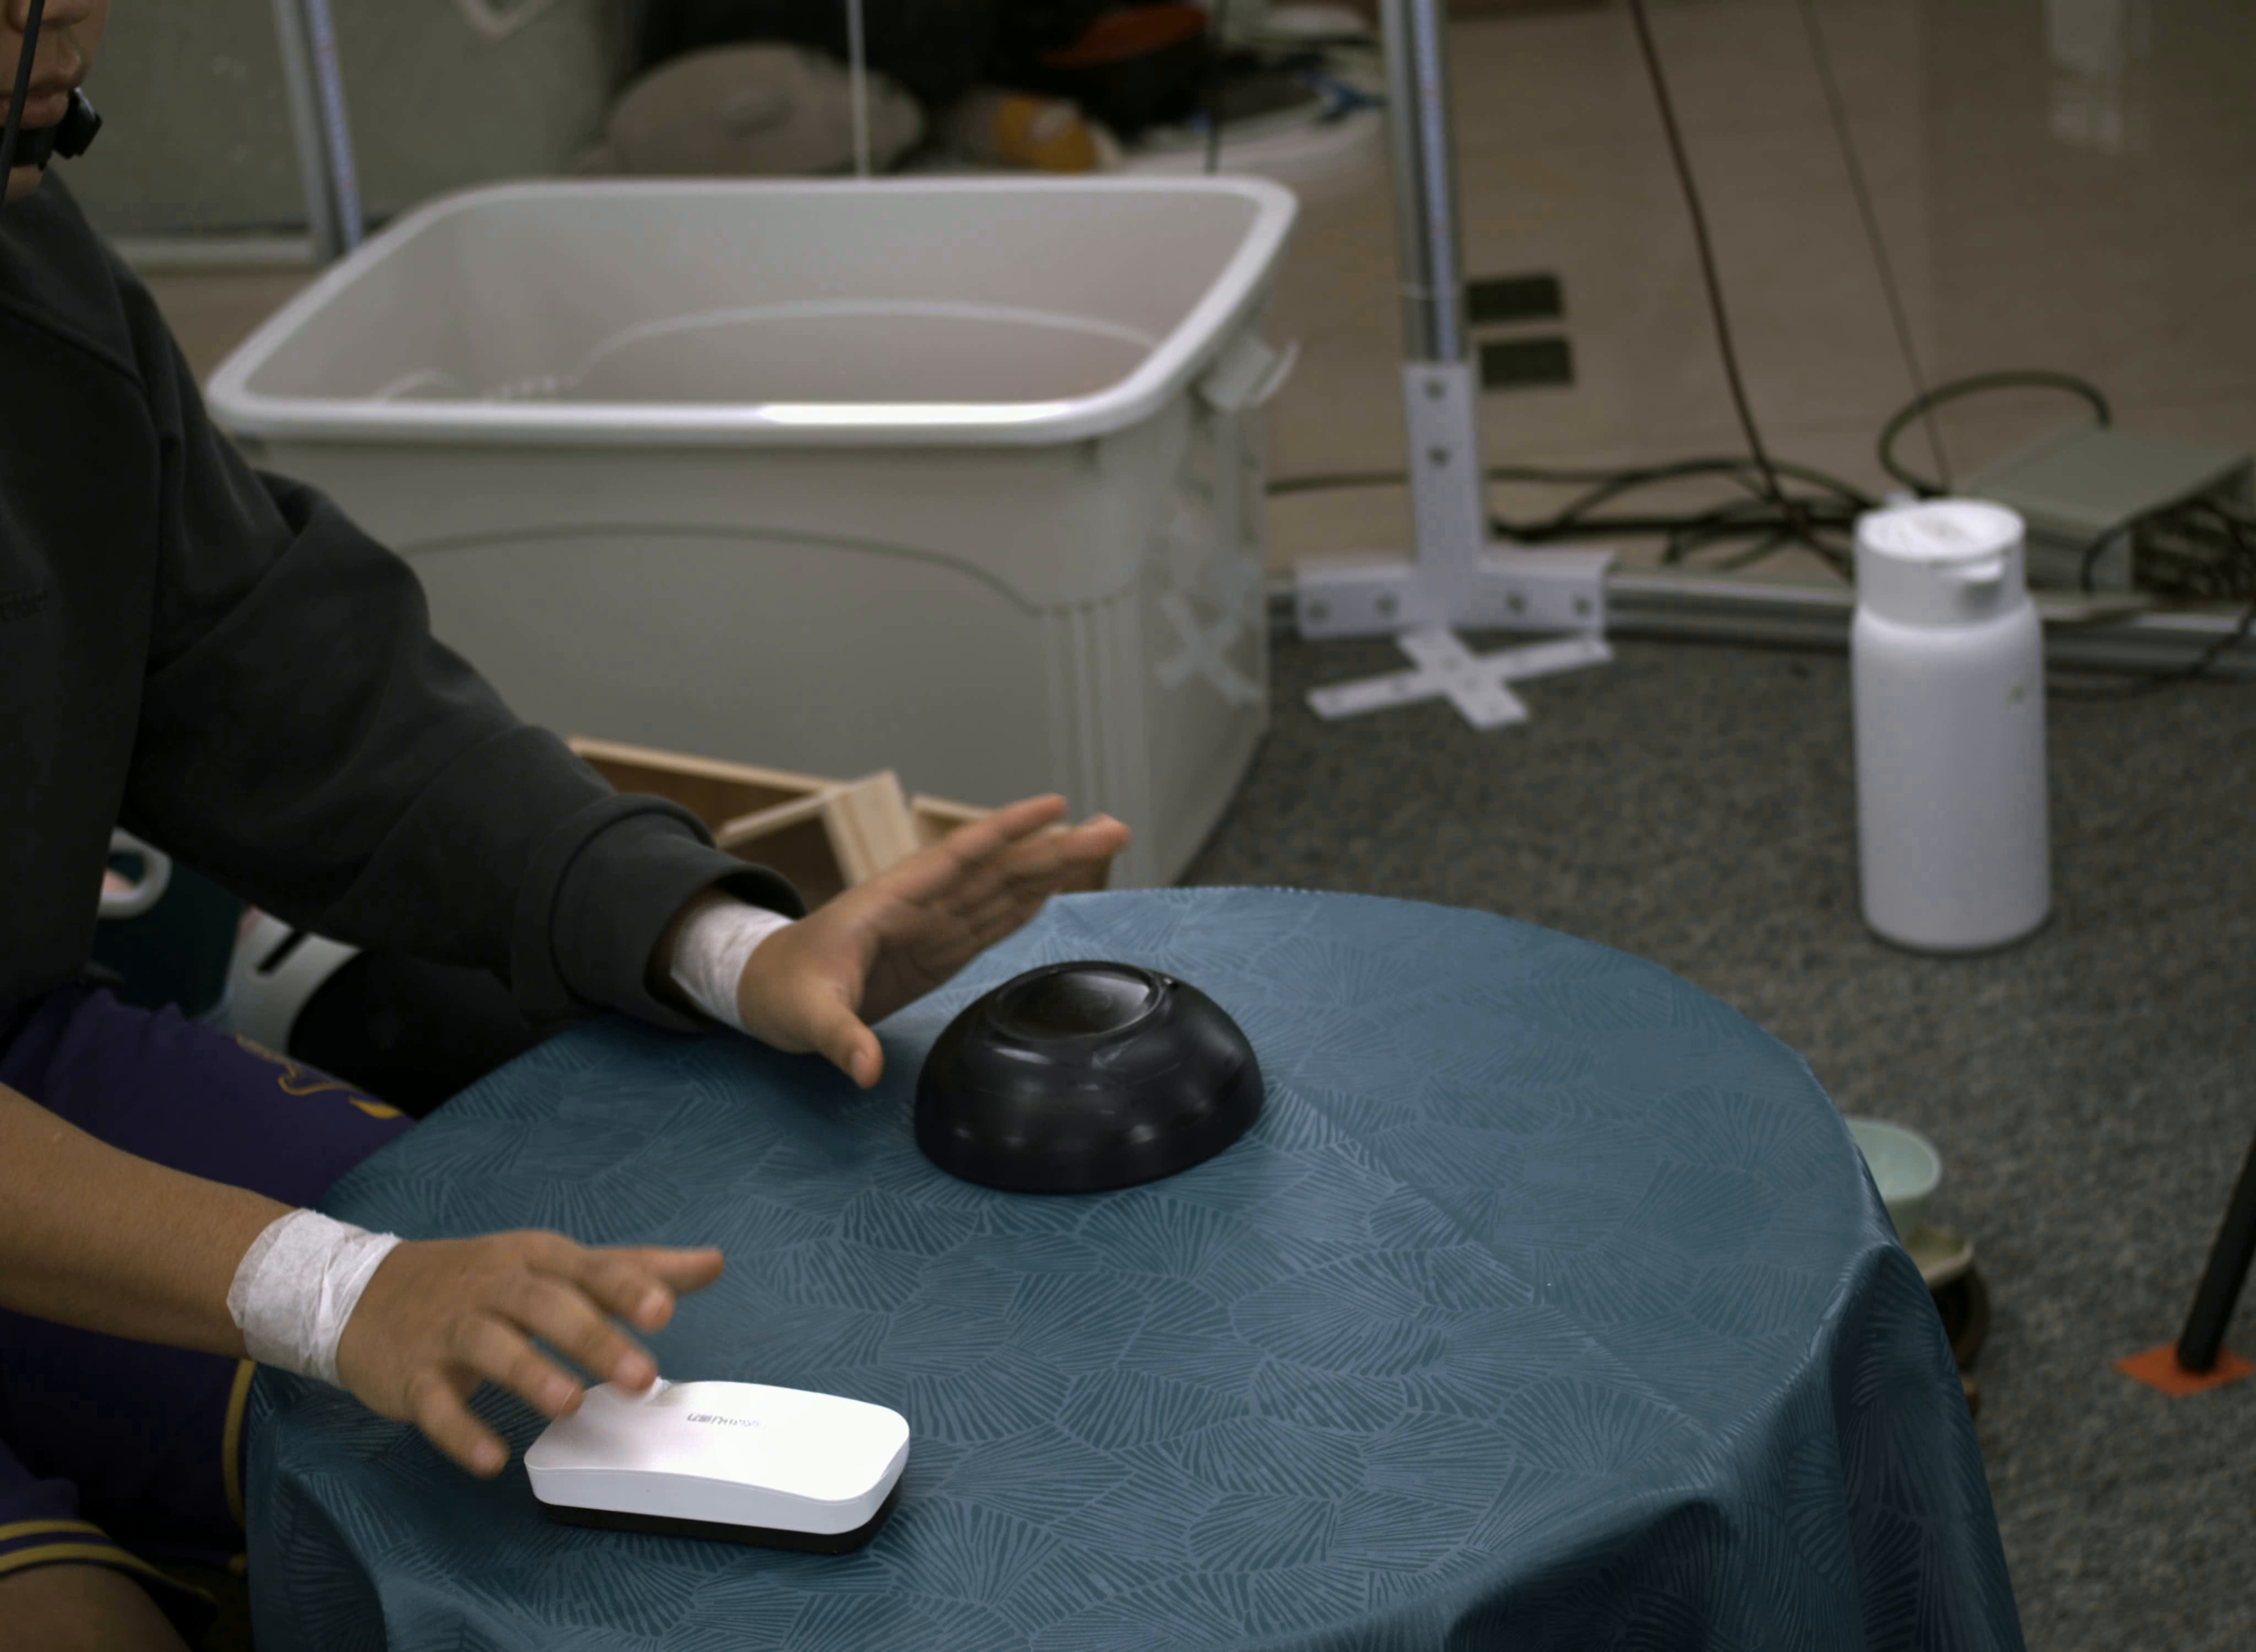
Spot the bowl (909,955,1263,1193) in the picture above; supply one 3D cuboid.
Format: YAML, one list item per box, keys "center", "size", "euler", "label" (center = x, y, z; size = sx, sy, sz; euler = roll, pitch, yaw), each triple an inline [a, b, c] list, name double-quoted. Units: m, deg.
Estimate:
- center: [-0.019, 0.088, 2.199]
  size: [0.140, 0.050, 0.138]
  euler: [-5, 27, 2]
  label: "bowl"

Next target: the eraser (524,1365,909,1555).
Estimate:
- center: [-0.142, 0.219, 1.972]
  size: [0.131, 0.035, 0.062]
  euler: [6, 27, 22]
  label: "eraser"
